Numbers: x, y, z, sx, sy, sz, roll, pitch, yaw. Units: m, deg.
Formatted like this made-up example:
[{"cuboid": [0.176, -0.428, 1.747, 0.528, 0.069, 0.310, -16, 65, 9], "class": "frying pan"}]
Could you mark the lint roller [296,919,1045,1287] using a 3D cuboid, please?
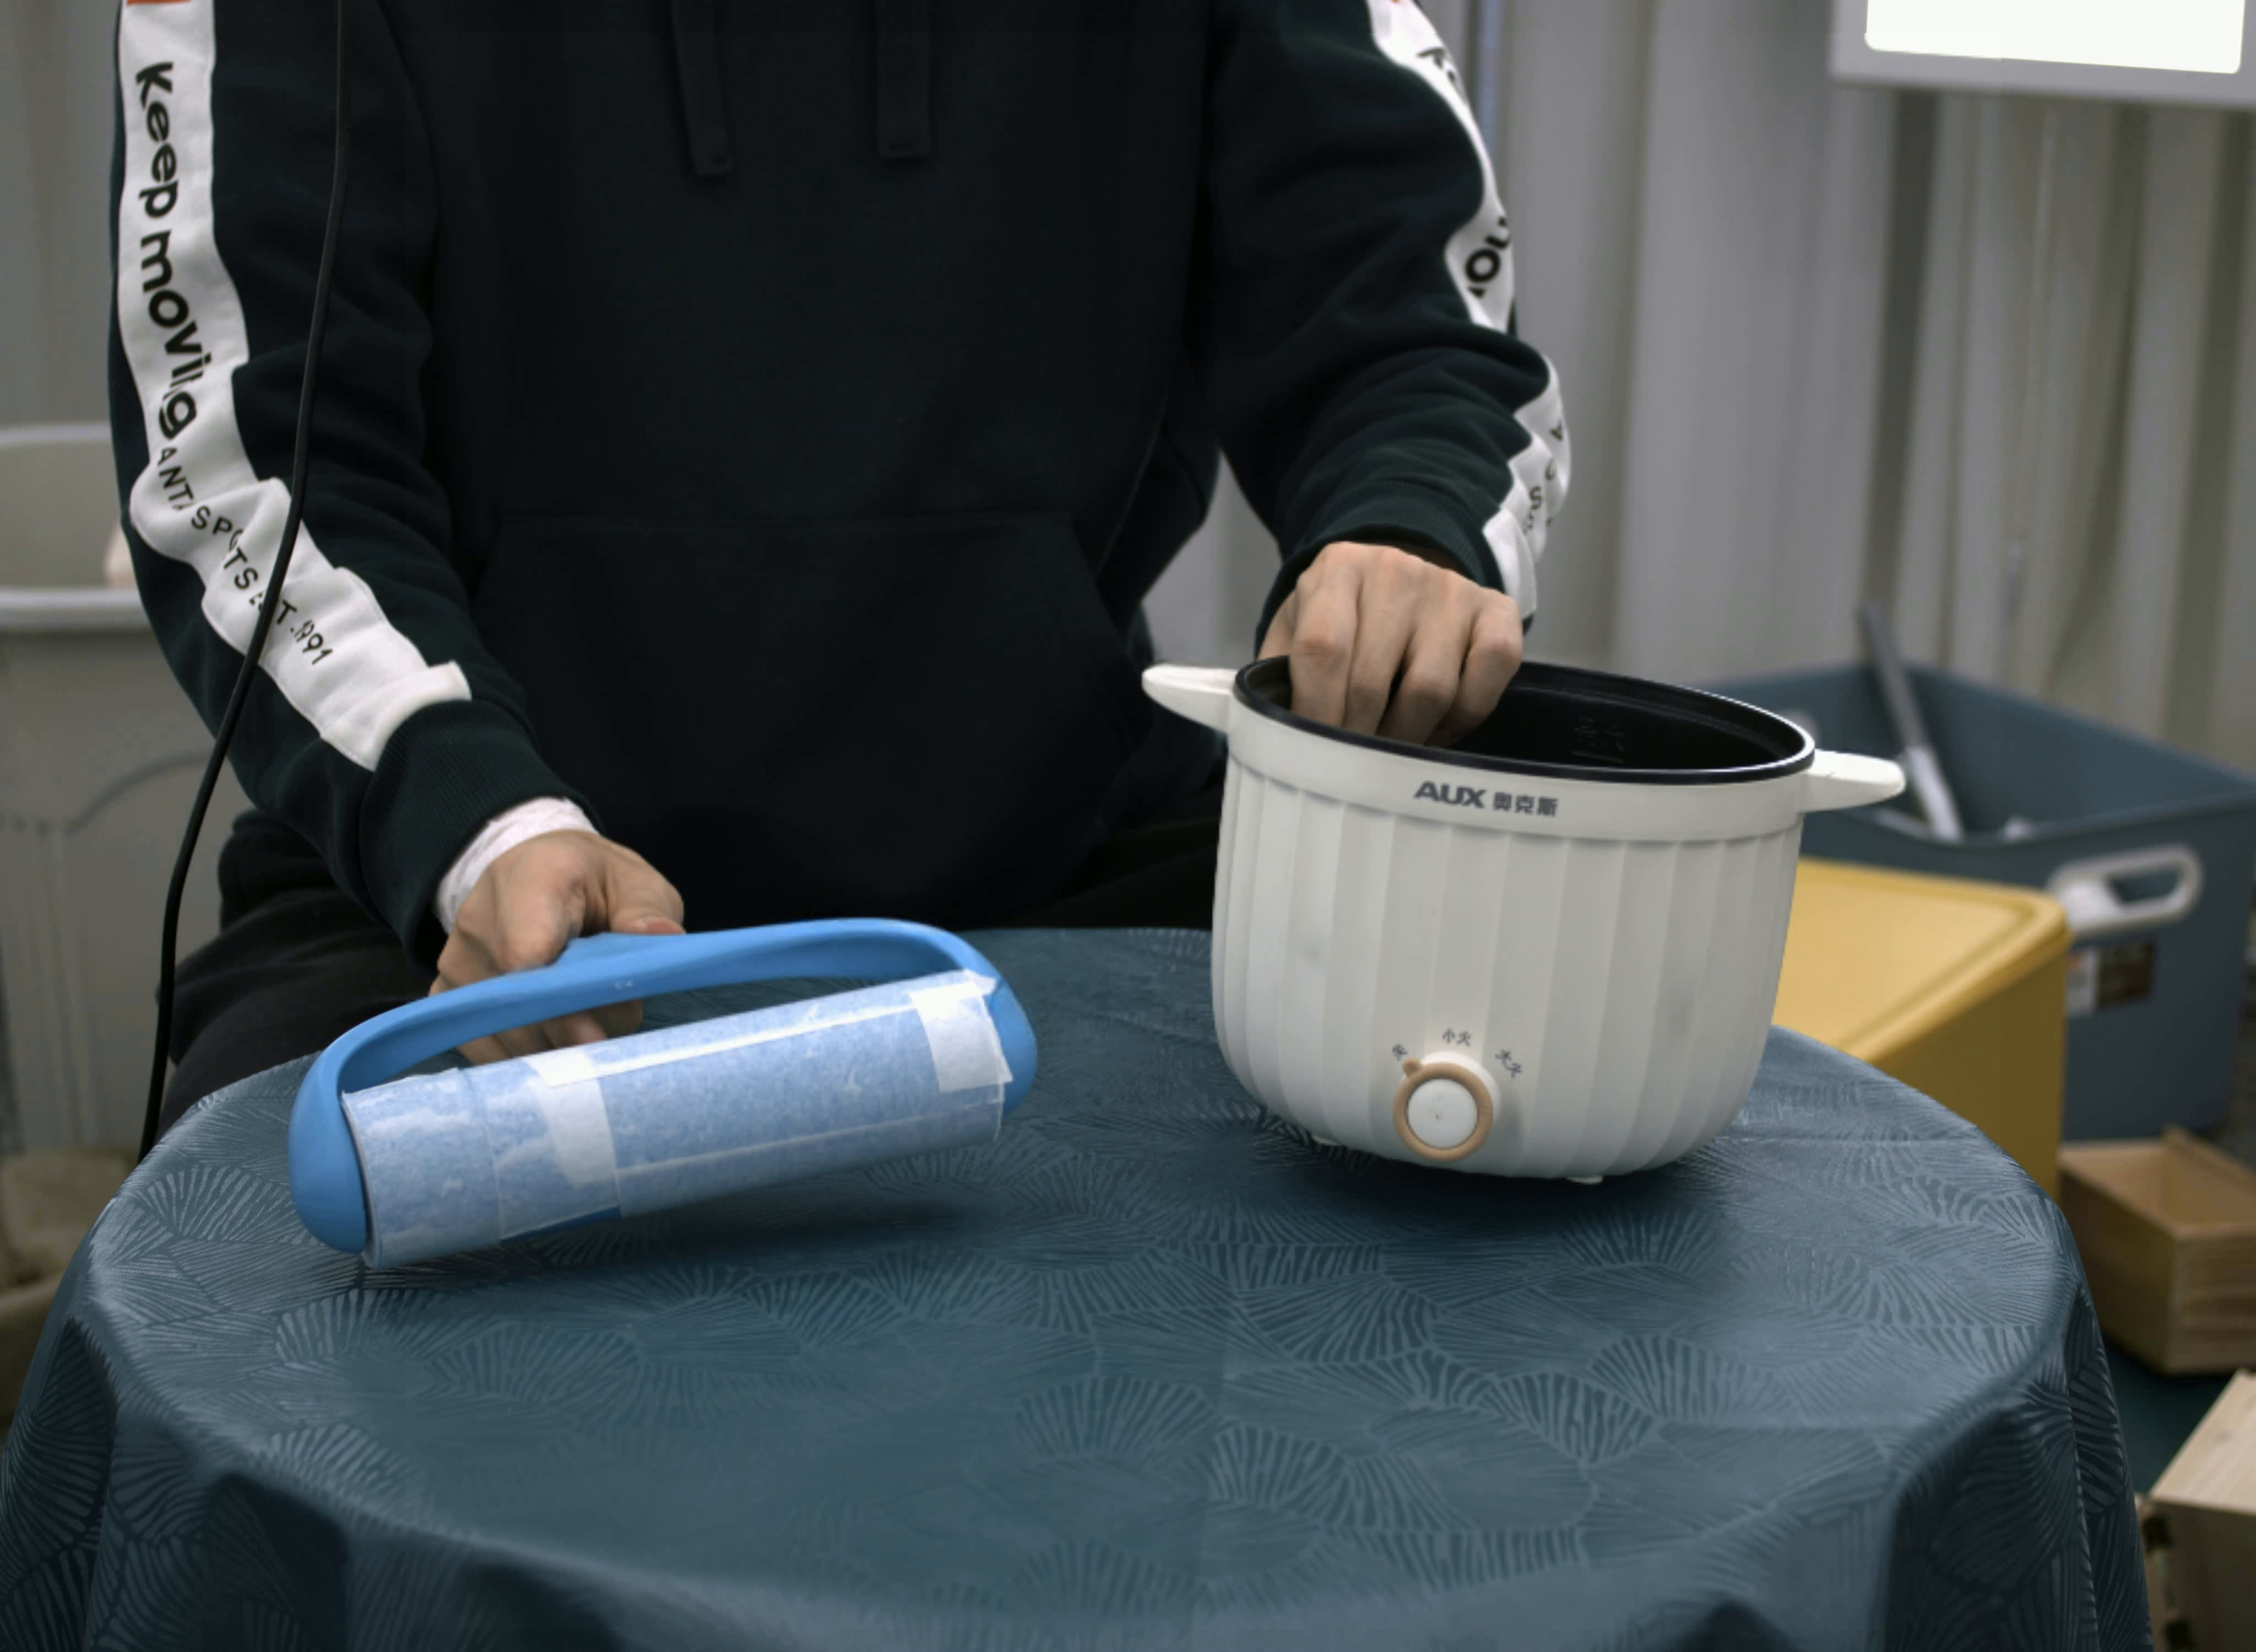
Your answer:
[{"cuboid": [-0.157, 0.068, 1.607, 0.229, 0.068, 0.178, -15, 25, -20], "class": "lint roller"}]

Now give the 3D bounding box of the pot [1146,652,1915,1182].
[{"cuboid": [0.117, 0.029, 1.633, 0.239, 0.143, 0.190, 7, 8, 8], "class": "pot"}]
